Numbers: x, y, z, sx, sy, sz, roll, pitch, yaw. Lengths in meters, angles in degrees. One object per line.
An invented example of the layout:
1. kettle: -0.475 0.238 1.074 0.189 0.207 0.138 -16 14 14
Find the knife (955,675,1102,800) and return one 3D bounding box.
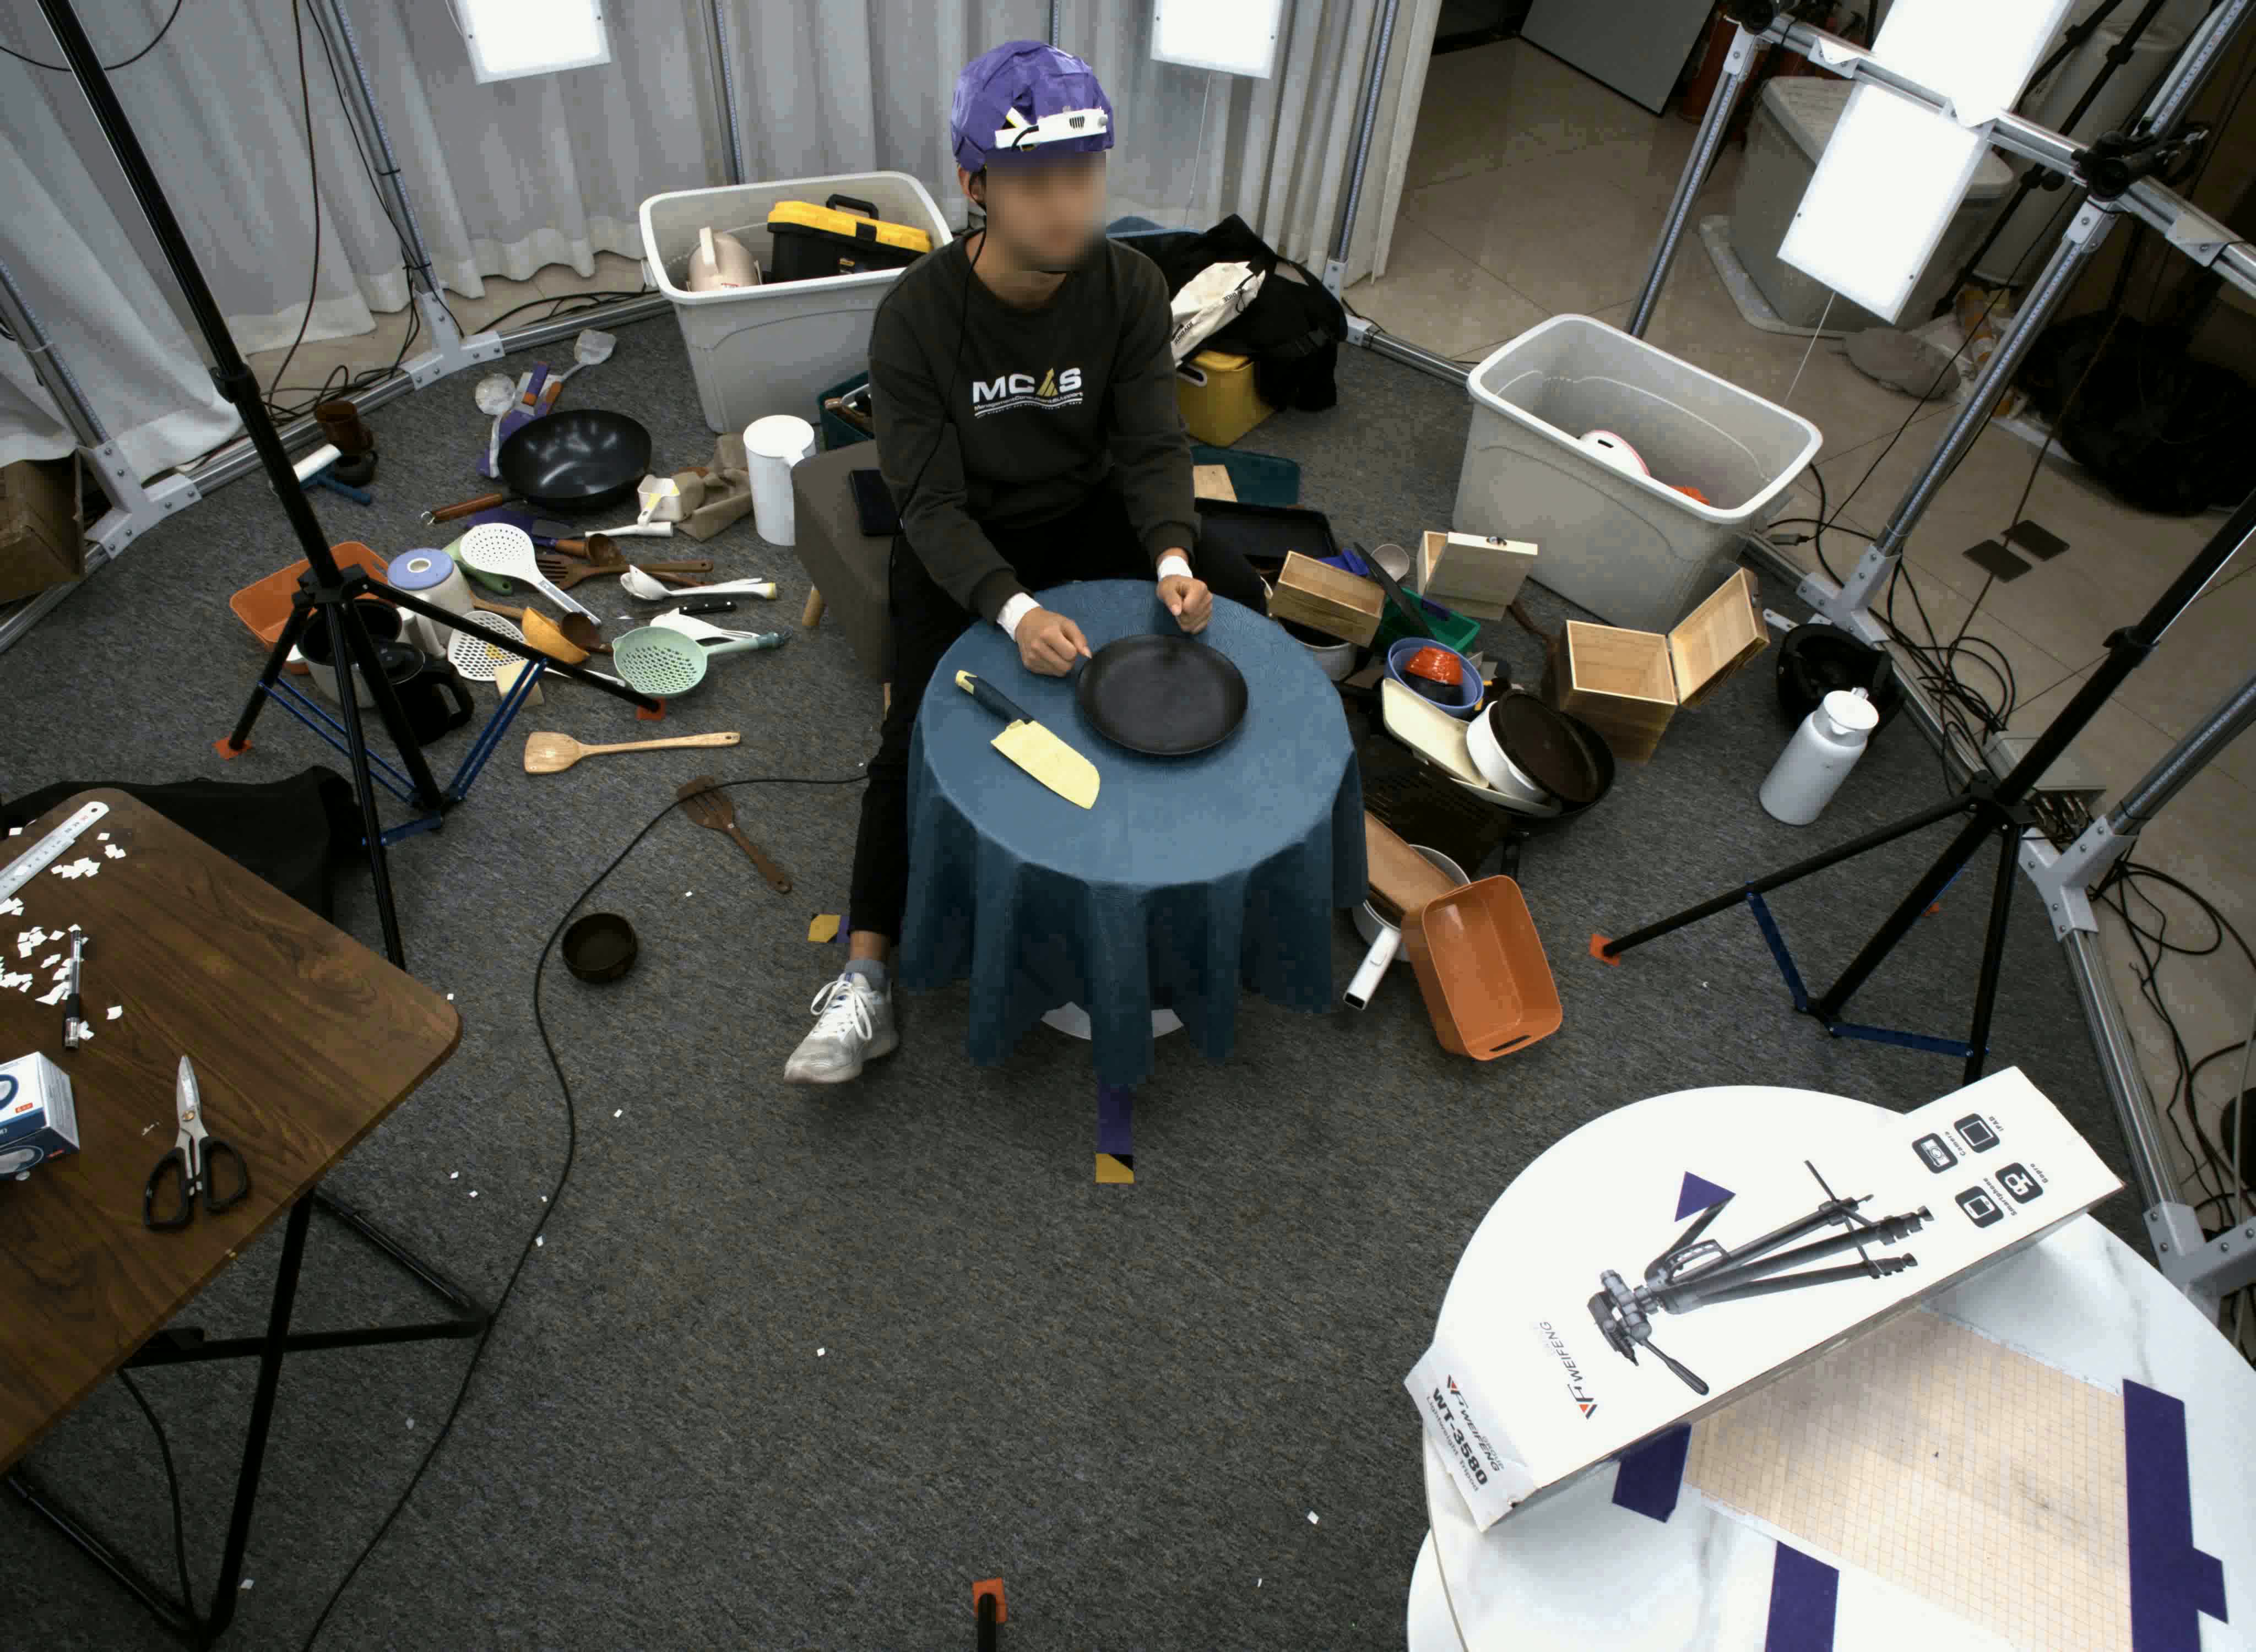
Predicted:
1. knife: -0.144 -0.120 1.752 0.294 0.026 0.082 39 56 25

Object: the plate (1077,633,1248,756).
1. plate: 0.048 -0.184 1.815 0.244 0.023 0.250 2 49 -2
